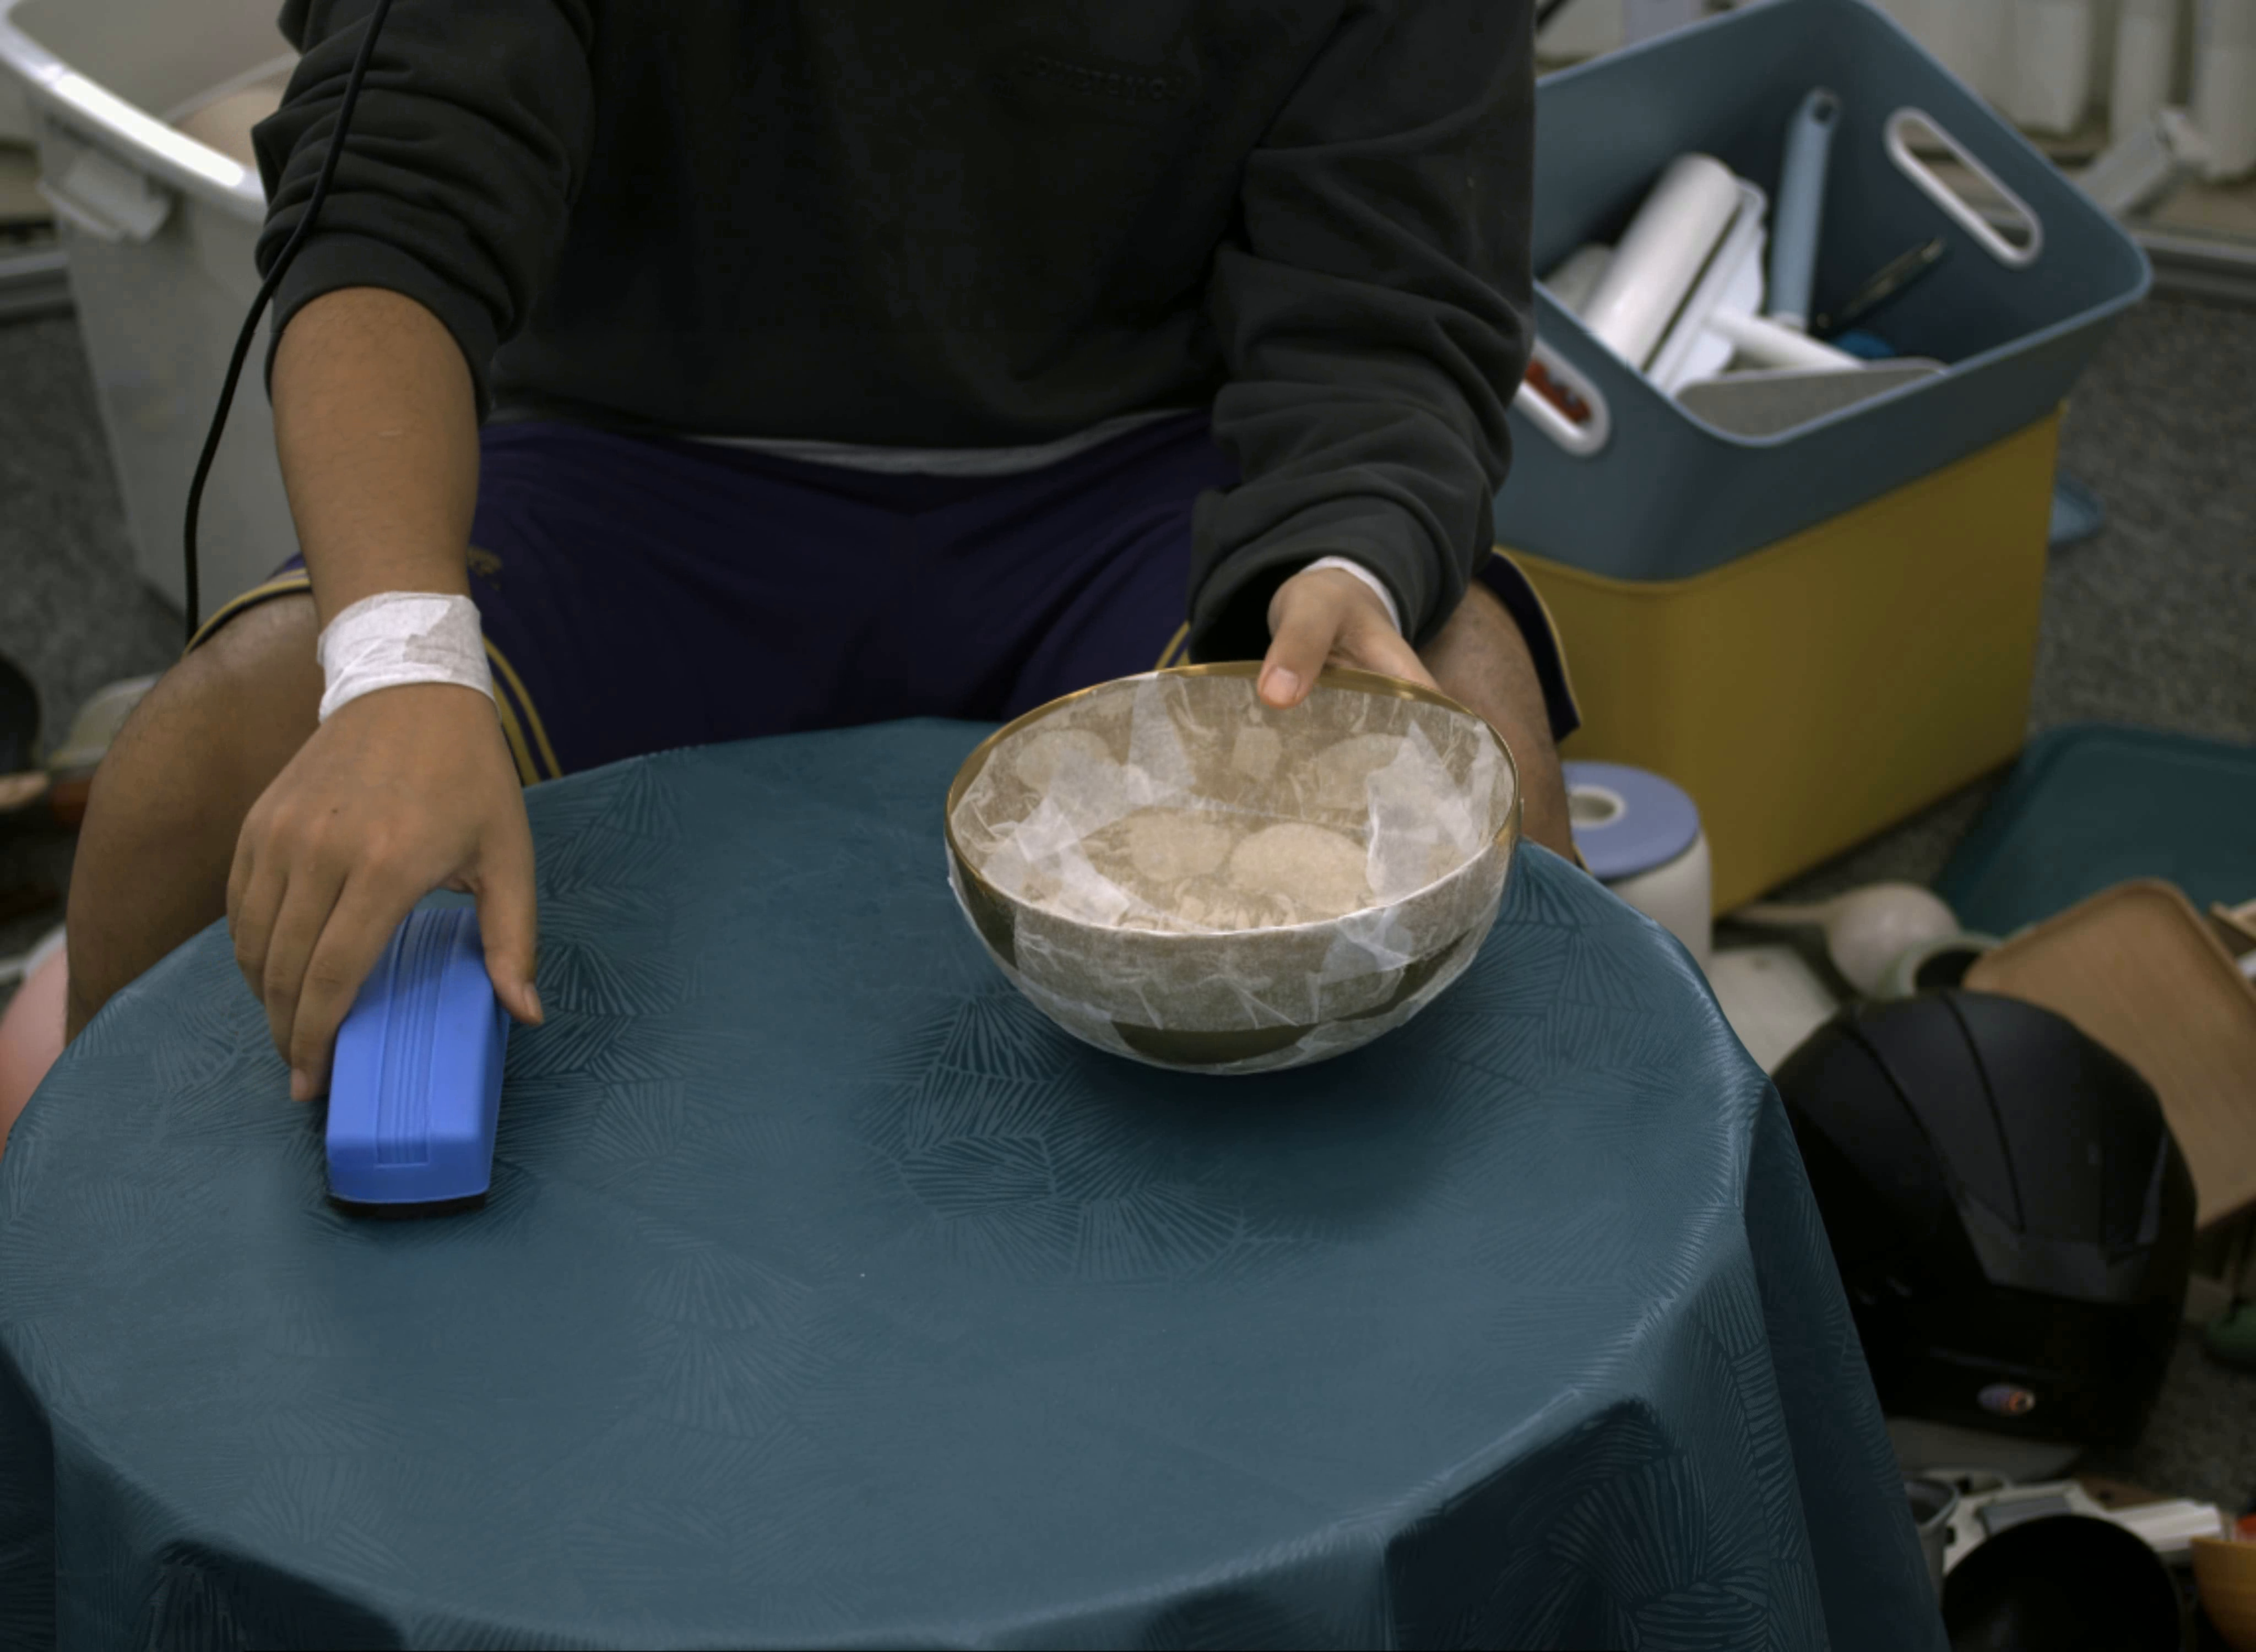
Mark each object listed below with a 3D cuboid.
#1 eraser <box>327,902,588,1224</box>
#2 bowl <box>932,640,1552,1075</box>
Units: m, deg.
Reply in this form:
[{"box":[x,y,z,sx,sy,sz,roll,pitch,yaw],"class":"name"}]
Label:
[{"box":[-0.229,0.075,1.921,0.053,0.047,0.165,-4,28,11],"class":"eraser"},{"box":[0.040,0.024,1.945,0.213,0.093,0.218,-4,28,2],"class":"bowl"}]
